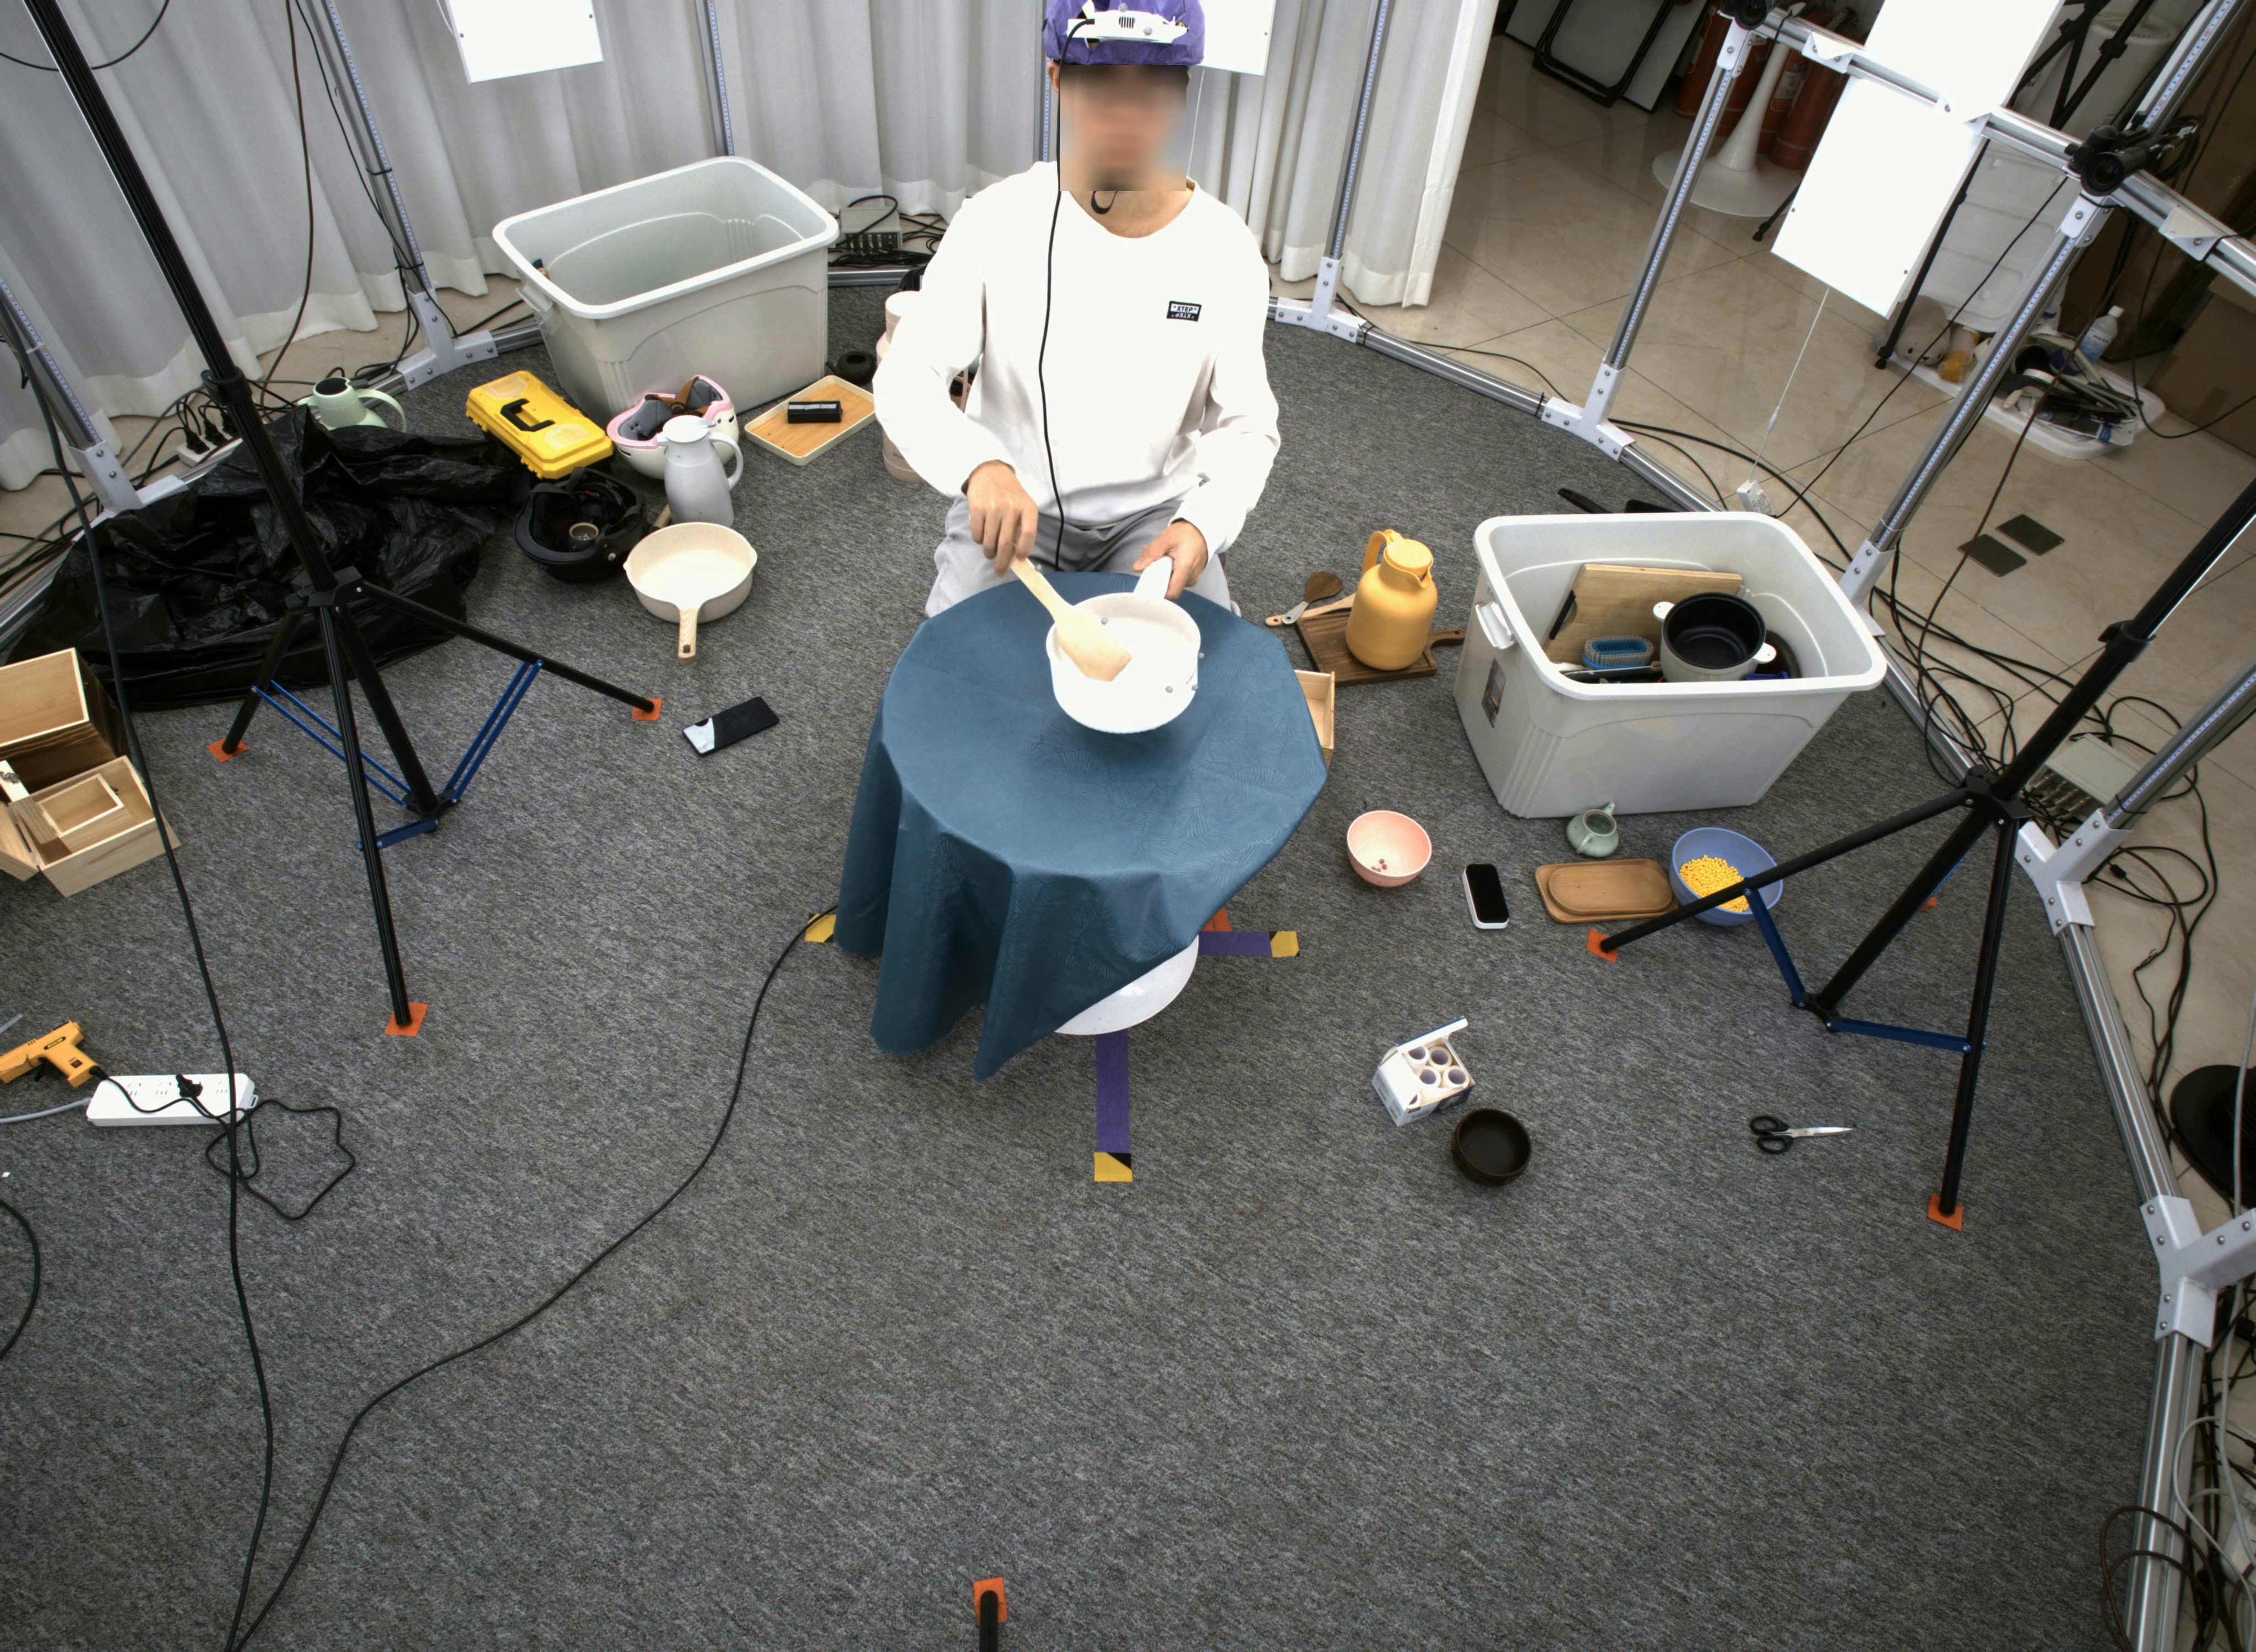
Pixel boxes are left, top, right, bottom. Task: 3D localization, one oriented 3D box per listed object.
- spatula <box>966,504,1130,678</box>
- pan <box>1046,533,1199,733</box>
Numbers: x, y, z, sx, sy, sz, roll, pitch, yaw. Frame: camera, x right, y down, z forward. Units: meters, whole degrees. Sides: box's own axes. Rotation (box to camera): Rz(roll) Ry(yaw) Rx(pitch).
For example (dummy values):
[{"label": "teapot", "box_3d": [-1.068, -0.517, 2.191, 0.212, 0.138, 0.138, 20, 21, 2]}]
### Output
[{"label": "spatula", "box_3d": [-0.112, -0.308, 1.684, 0.294, 0.071, 0.011, 49, 32, 5]}, {"label": "pan", "box_3d": [0.016, -0.267, 1.763, 0.202, 0.099, 0.362, 9, 45, 13]}]
